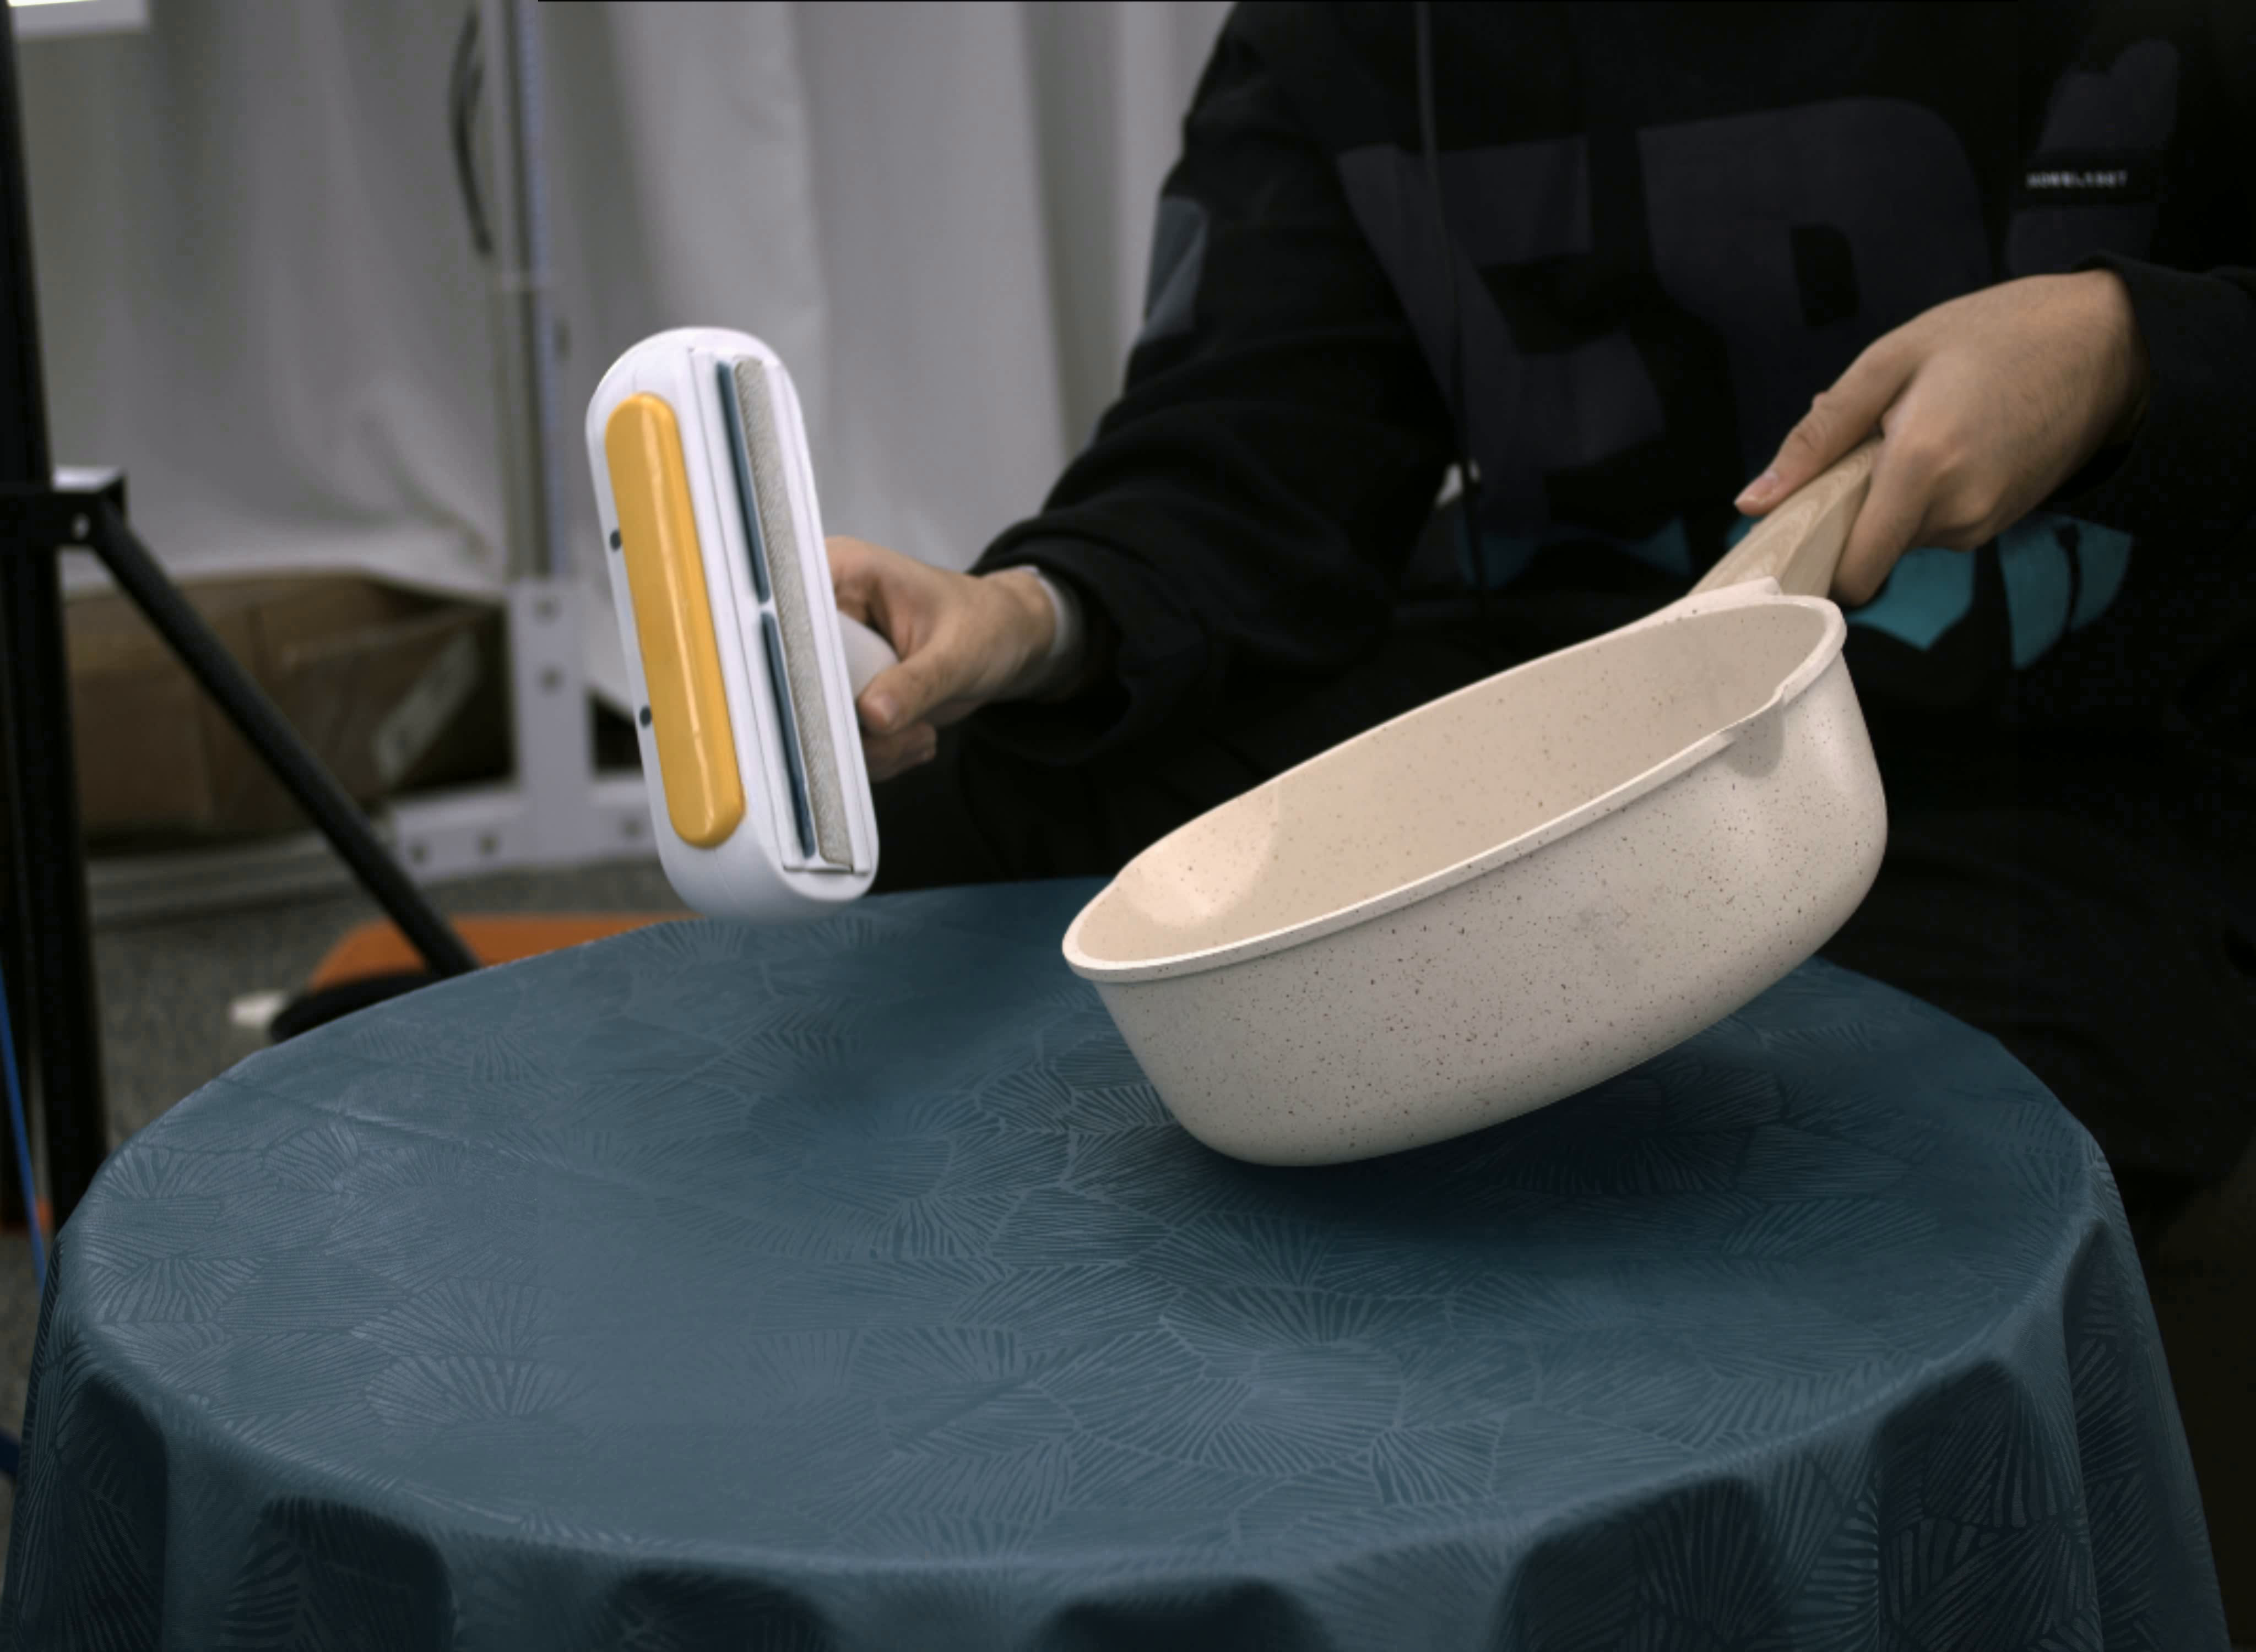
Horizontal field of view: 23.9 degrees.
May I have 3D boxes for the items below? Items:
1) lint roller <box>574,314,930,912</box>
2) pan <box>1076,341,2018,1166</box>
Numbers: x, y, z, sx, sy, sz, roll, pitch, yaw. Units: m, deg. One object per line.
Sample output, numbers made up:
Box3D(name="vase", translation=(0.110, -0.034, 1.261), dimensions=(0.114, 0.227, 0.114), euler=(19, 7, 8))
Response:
Box3D(name="lint roller", translation=(-0.105, -0.057, 1.733), dimensions=(0.075, 0.195, 0.188), euler=(-22, -18, 25))
Box3D(name="pan", translation=(0.170, -0.024, 1.628), dimensions=(0.427, 0.102, 0.268), euler=(-33, 11, -39))
